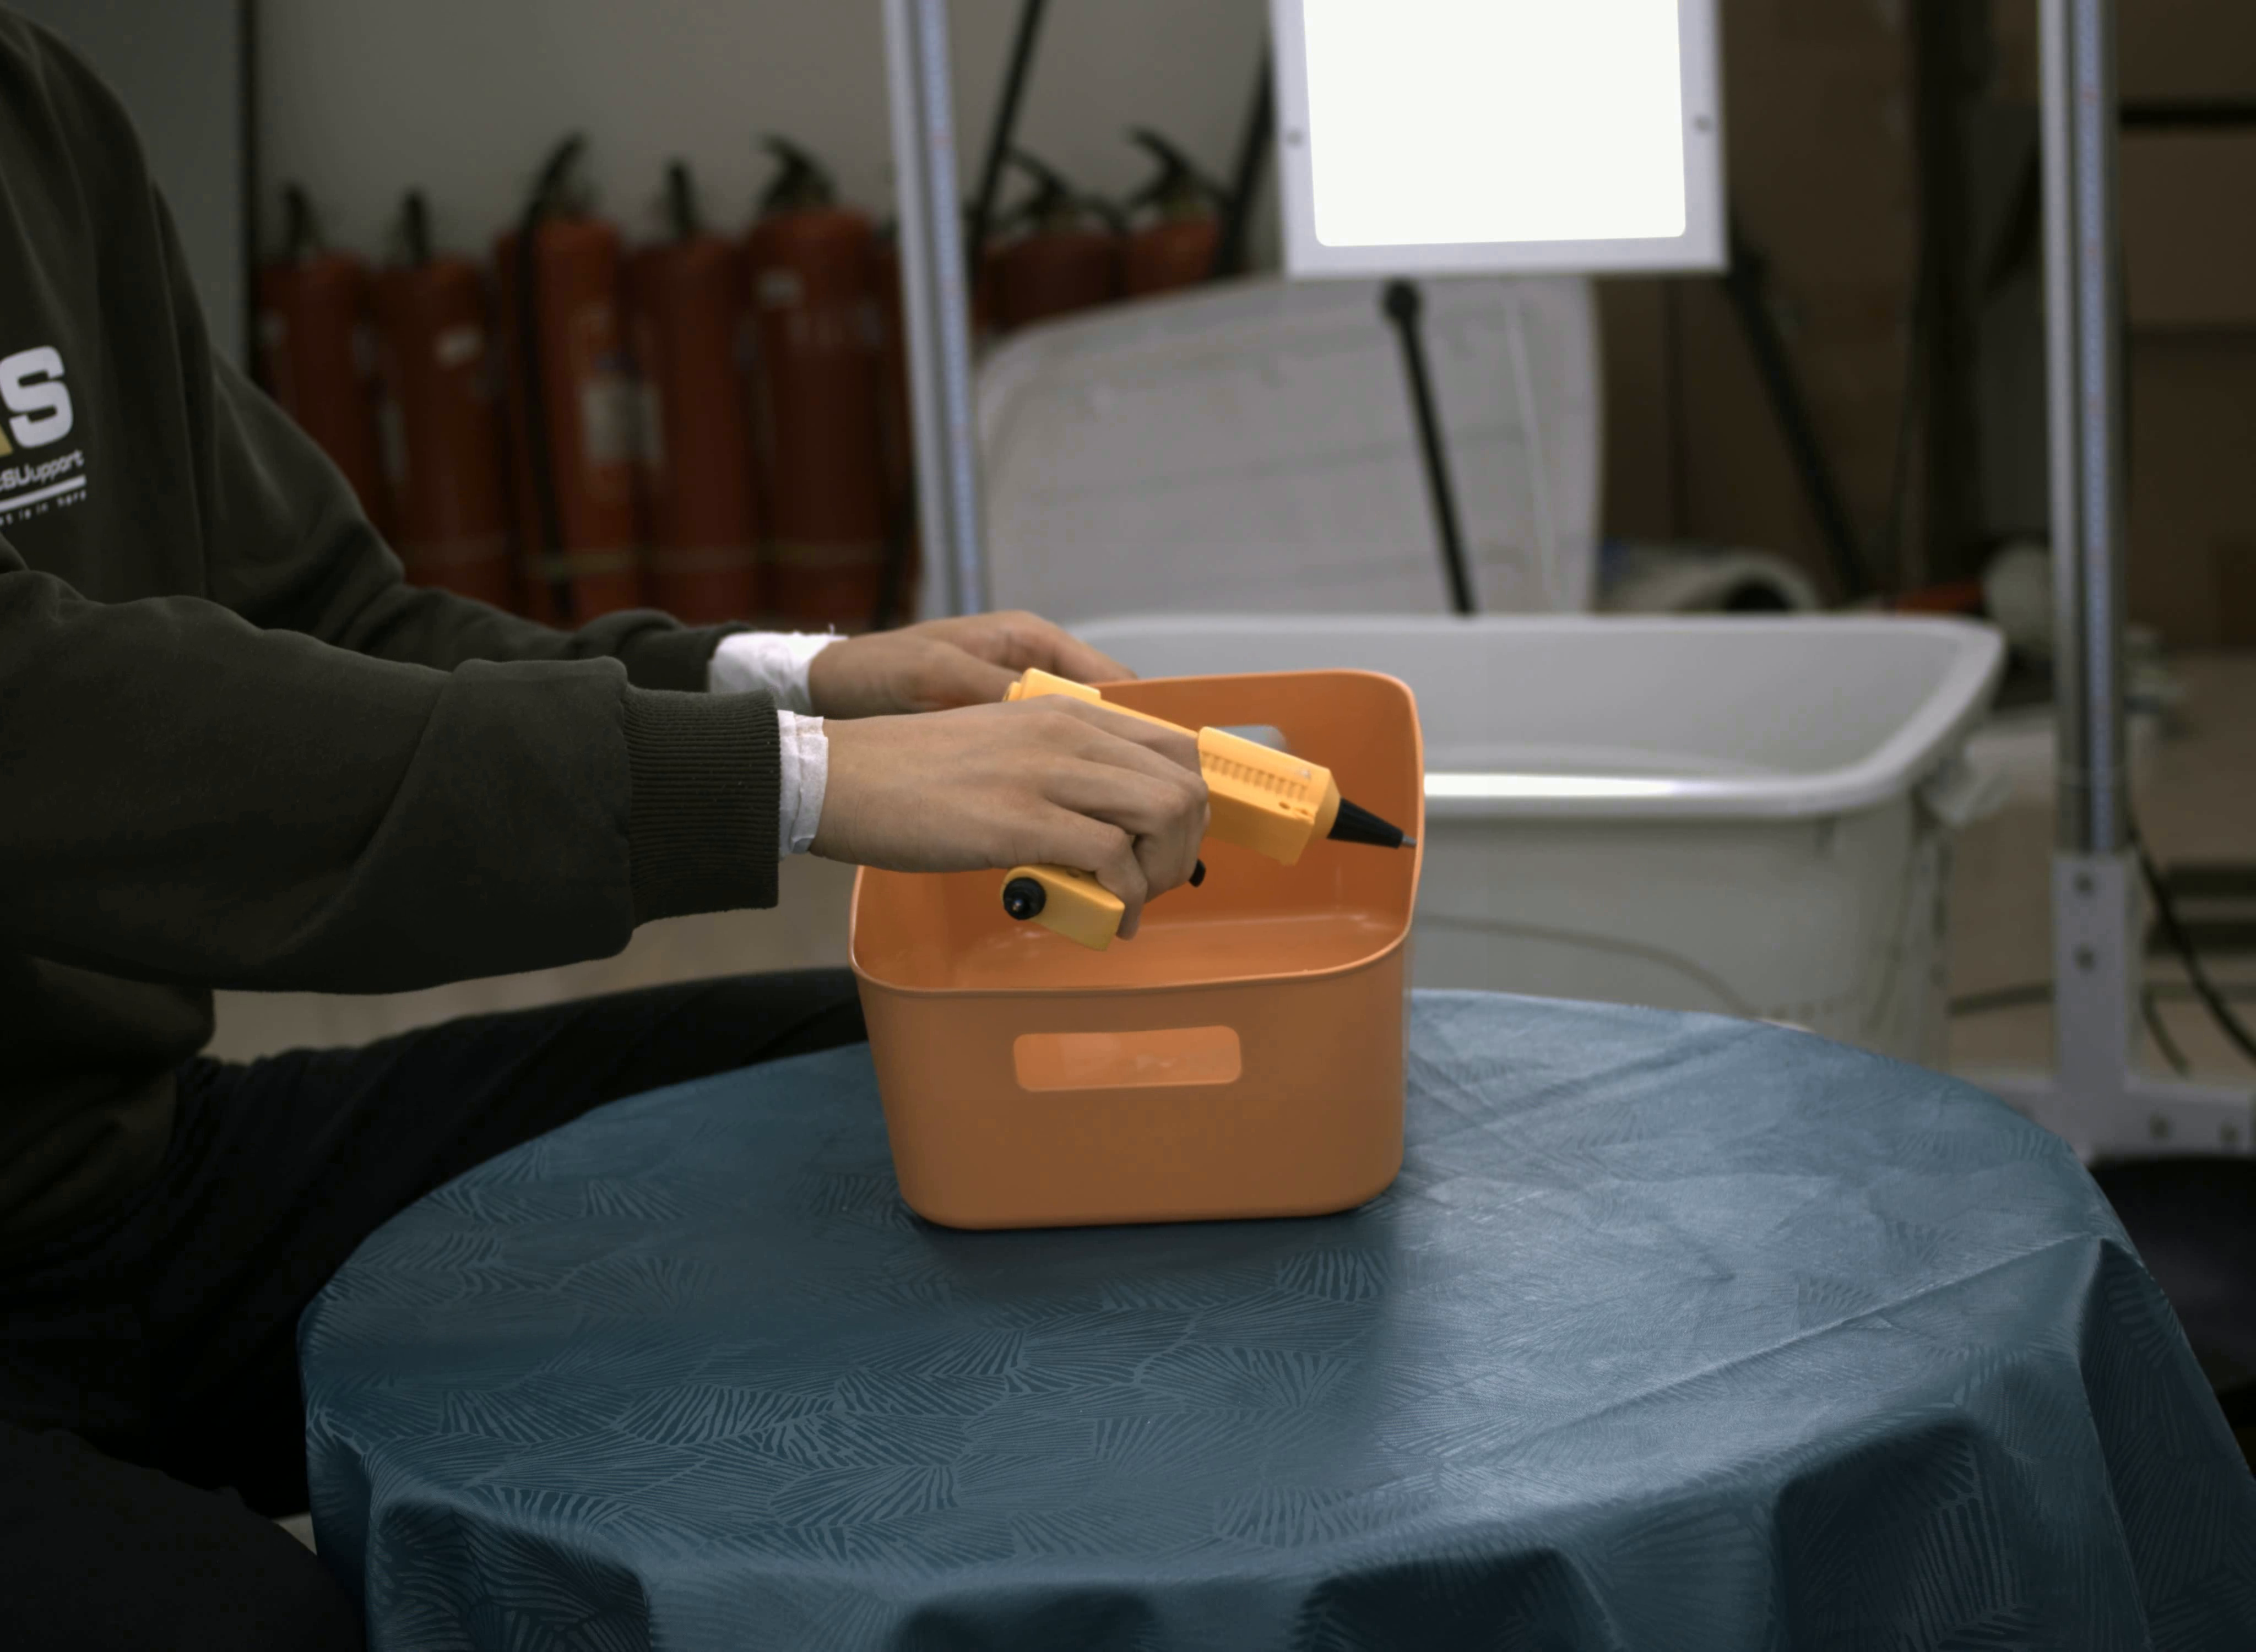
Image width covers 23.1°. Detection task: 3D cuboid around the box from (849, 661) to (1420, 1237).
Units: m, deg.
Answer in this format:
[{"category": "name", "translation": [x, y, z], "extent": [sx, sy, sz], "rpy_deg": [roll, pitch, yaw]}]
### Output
[{"category": "box", "translation": [0.009, 0.044, 1.952], "extent": [0.200, 0.103, 0.271], "rpy_deg": [-5, 24, 6]}]

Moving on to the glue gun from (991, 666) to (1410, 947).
[{"category": "glue gun", "translation": [0.027, 0.007, 1.848], "extent": [0.150, 0.031, 0.132], "rpy_deg": [15, 33, -10]}]
